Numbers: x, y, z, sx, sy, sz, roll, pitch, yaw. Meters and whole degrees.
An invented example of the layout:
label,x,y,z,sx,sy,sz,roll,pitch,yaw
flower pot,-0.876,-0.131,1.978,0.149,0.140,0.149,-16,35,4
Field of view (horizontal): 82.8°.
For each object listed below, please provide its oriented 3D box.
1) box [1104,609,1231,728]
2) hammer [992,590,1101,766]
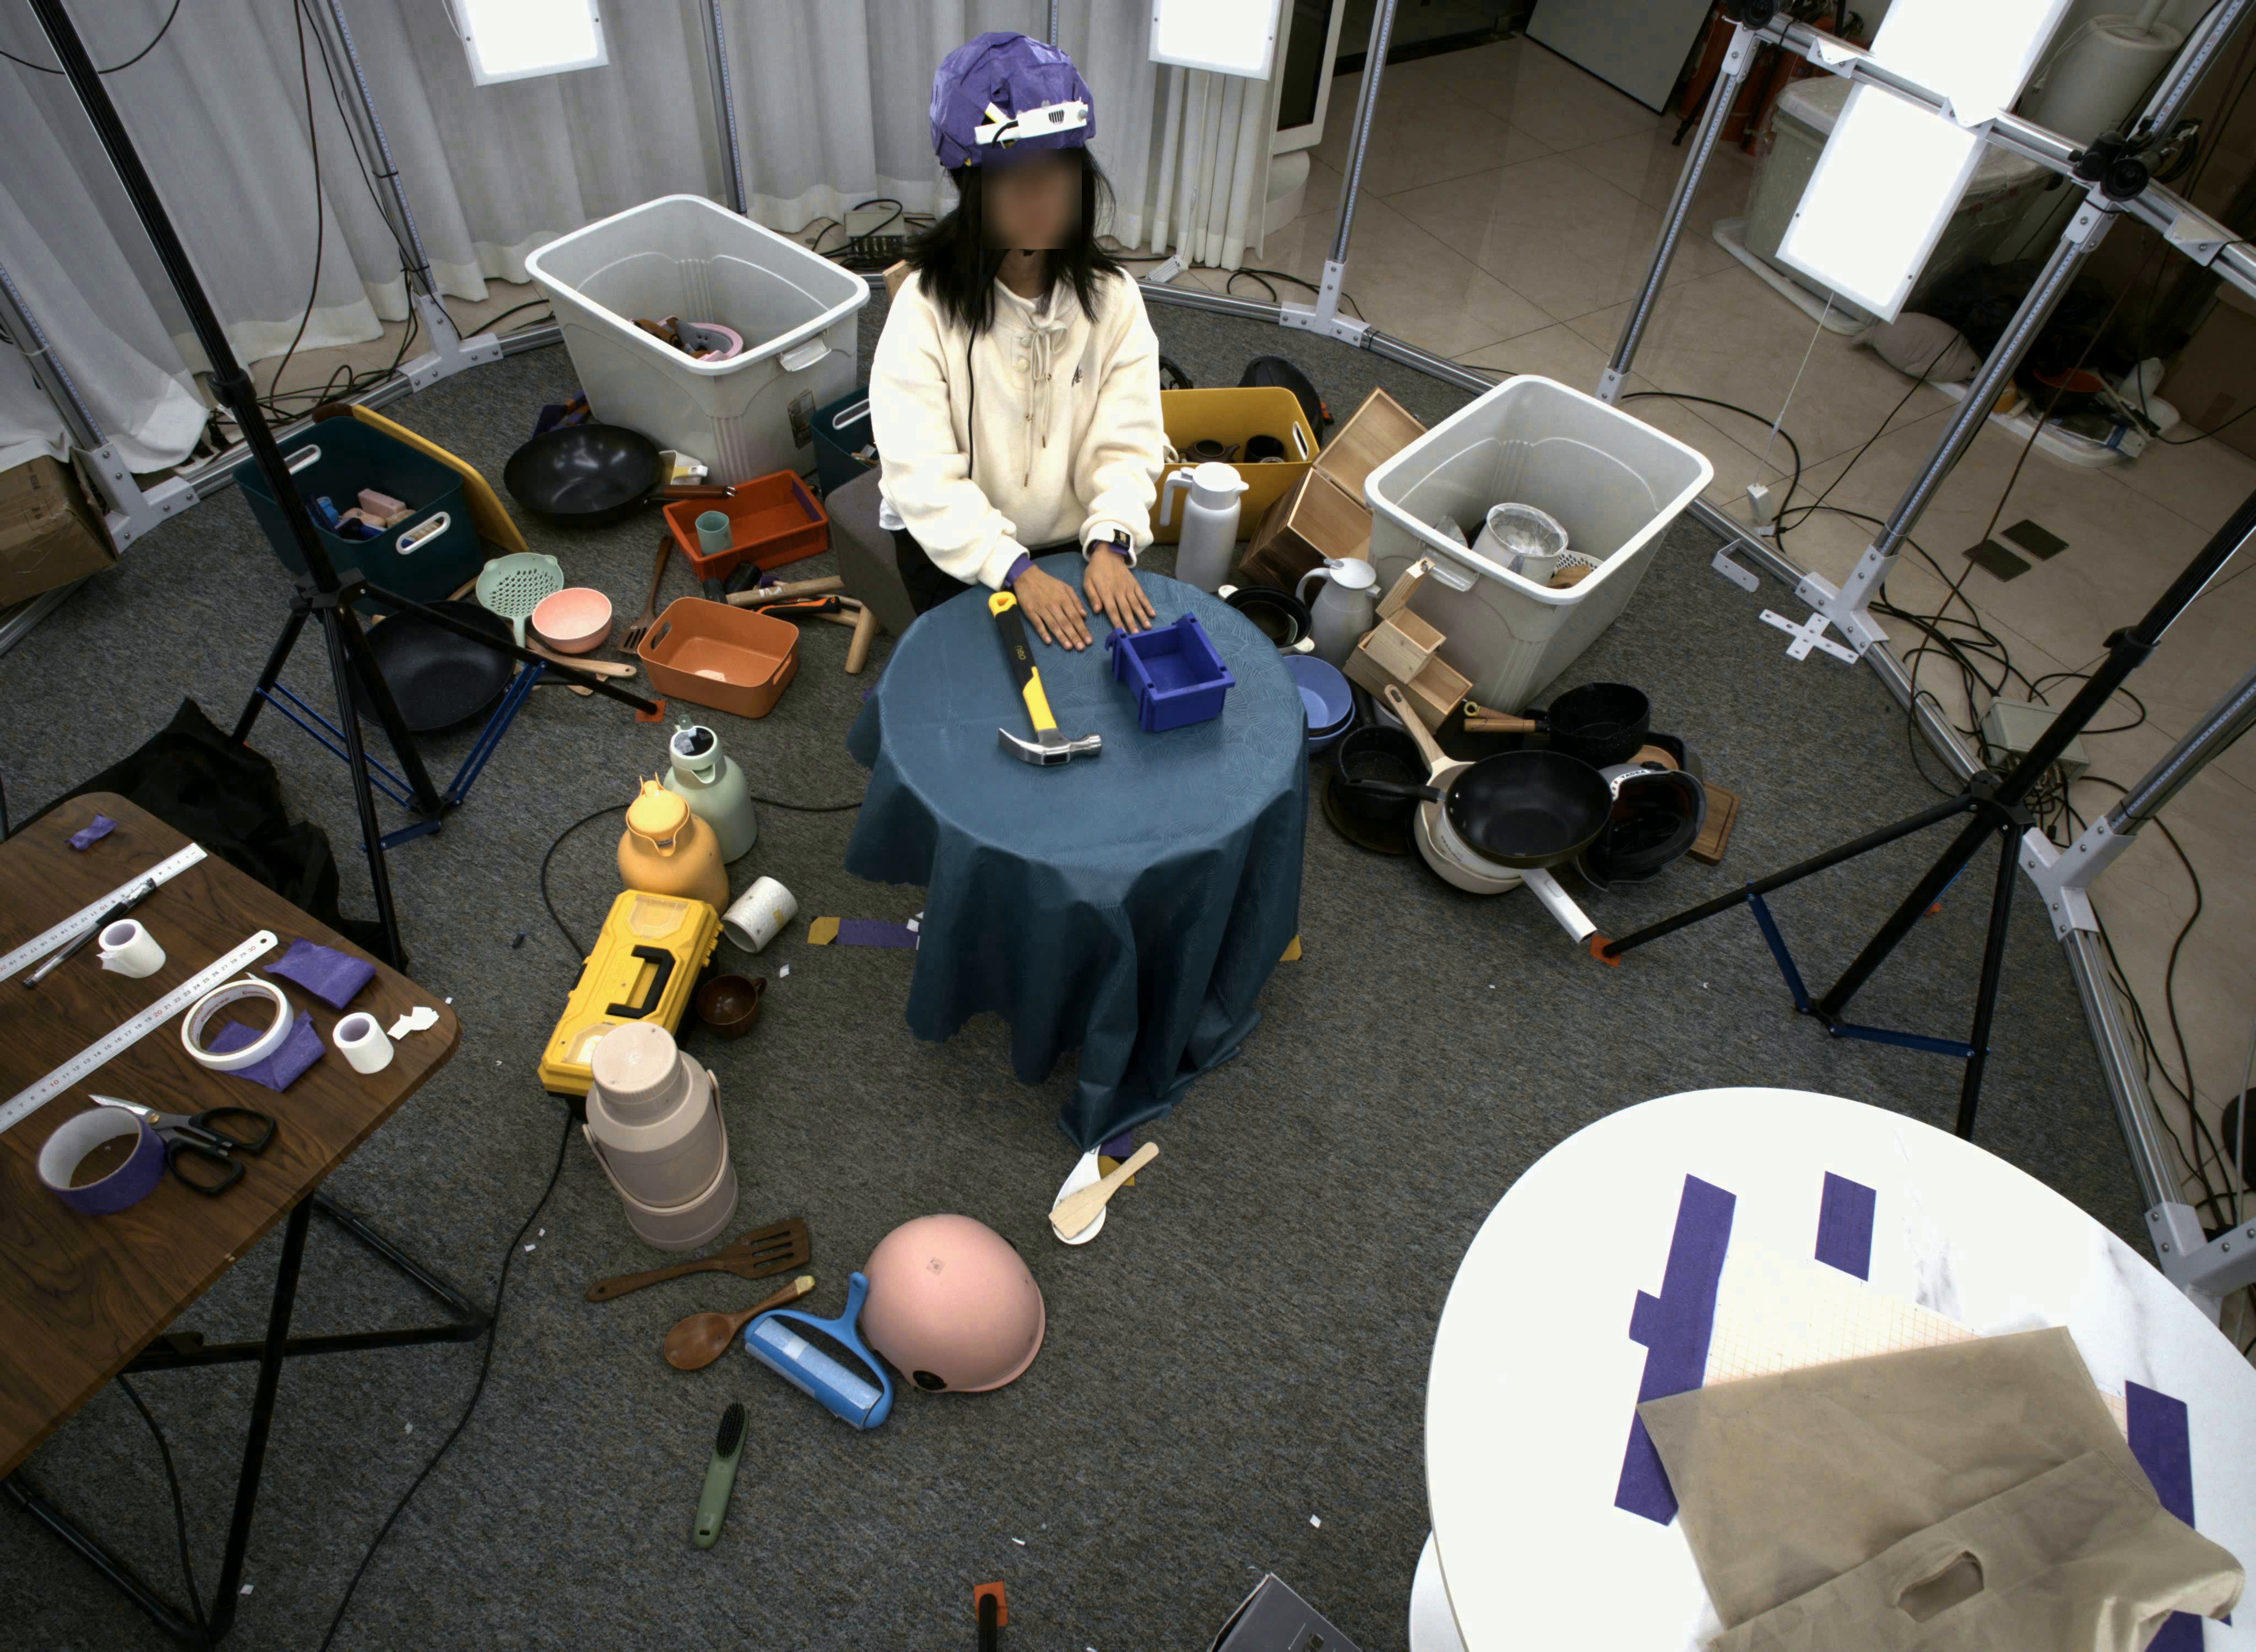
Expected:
label,x,y,z,sx,sy,sz,roll,pitch,yaw
box,0.050,-0.229,1.820,0.124,0.080,0.183,-14,53,-15
hammer,-0.141,-0.218,1.828,0.131,0.031,0.347,-10,51,-11
